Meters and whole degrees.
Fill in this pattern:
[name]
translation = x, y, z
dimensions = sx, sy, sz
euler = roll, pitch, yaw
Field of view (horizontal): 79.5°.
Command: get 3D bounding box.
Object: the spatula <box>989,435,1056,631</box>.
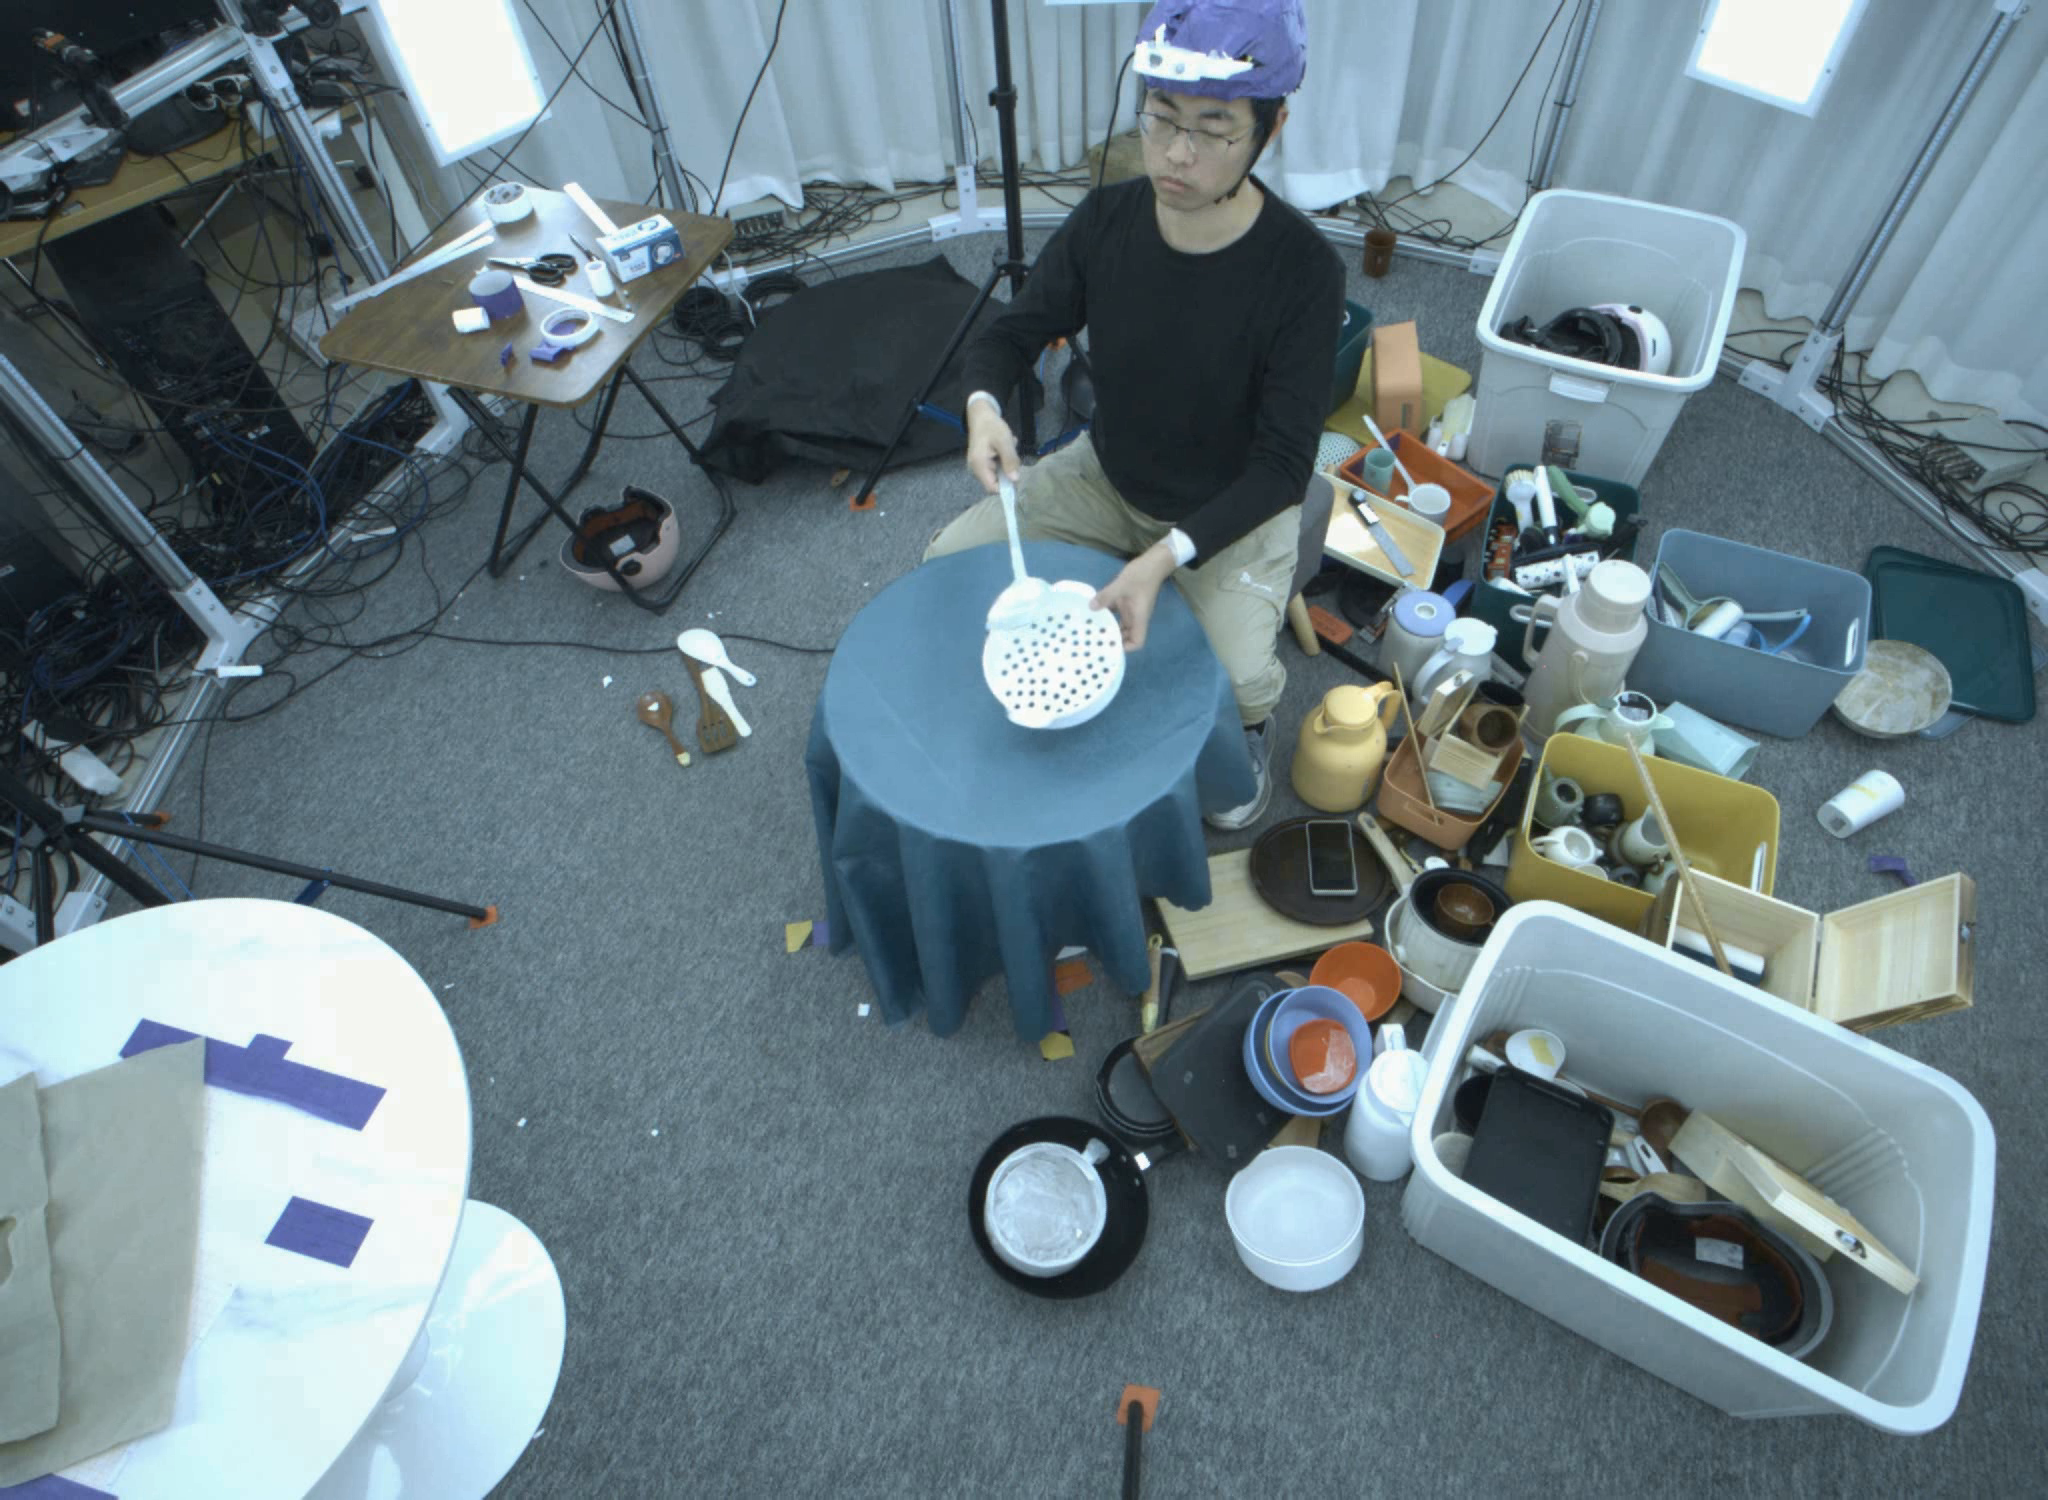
[spatula]
translation = -0.014, -0.317, 1.726
dimensions = 0.098, 0.045, 0.361
euler = -16, 63, 18

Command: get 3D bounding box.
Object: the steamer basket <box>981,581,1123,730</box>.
[steamer basket]
translation = 0.043, -0.127, 1.760
dimensions = 0.199, 0.070, 0.230
euler = 16, 74, 17
